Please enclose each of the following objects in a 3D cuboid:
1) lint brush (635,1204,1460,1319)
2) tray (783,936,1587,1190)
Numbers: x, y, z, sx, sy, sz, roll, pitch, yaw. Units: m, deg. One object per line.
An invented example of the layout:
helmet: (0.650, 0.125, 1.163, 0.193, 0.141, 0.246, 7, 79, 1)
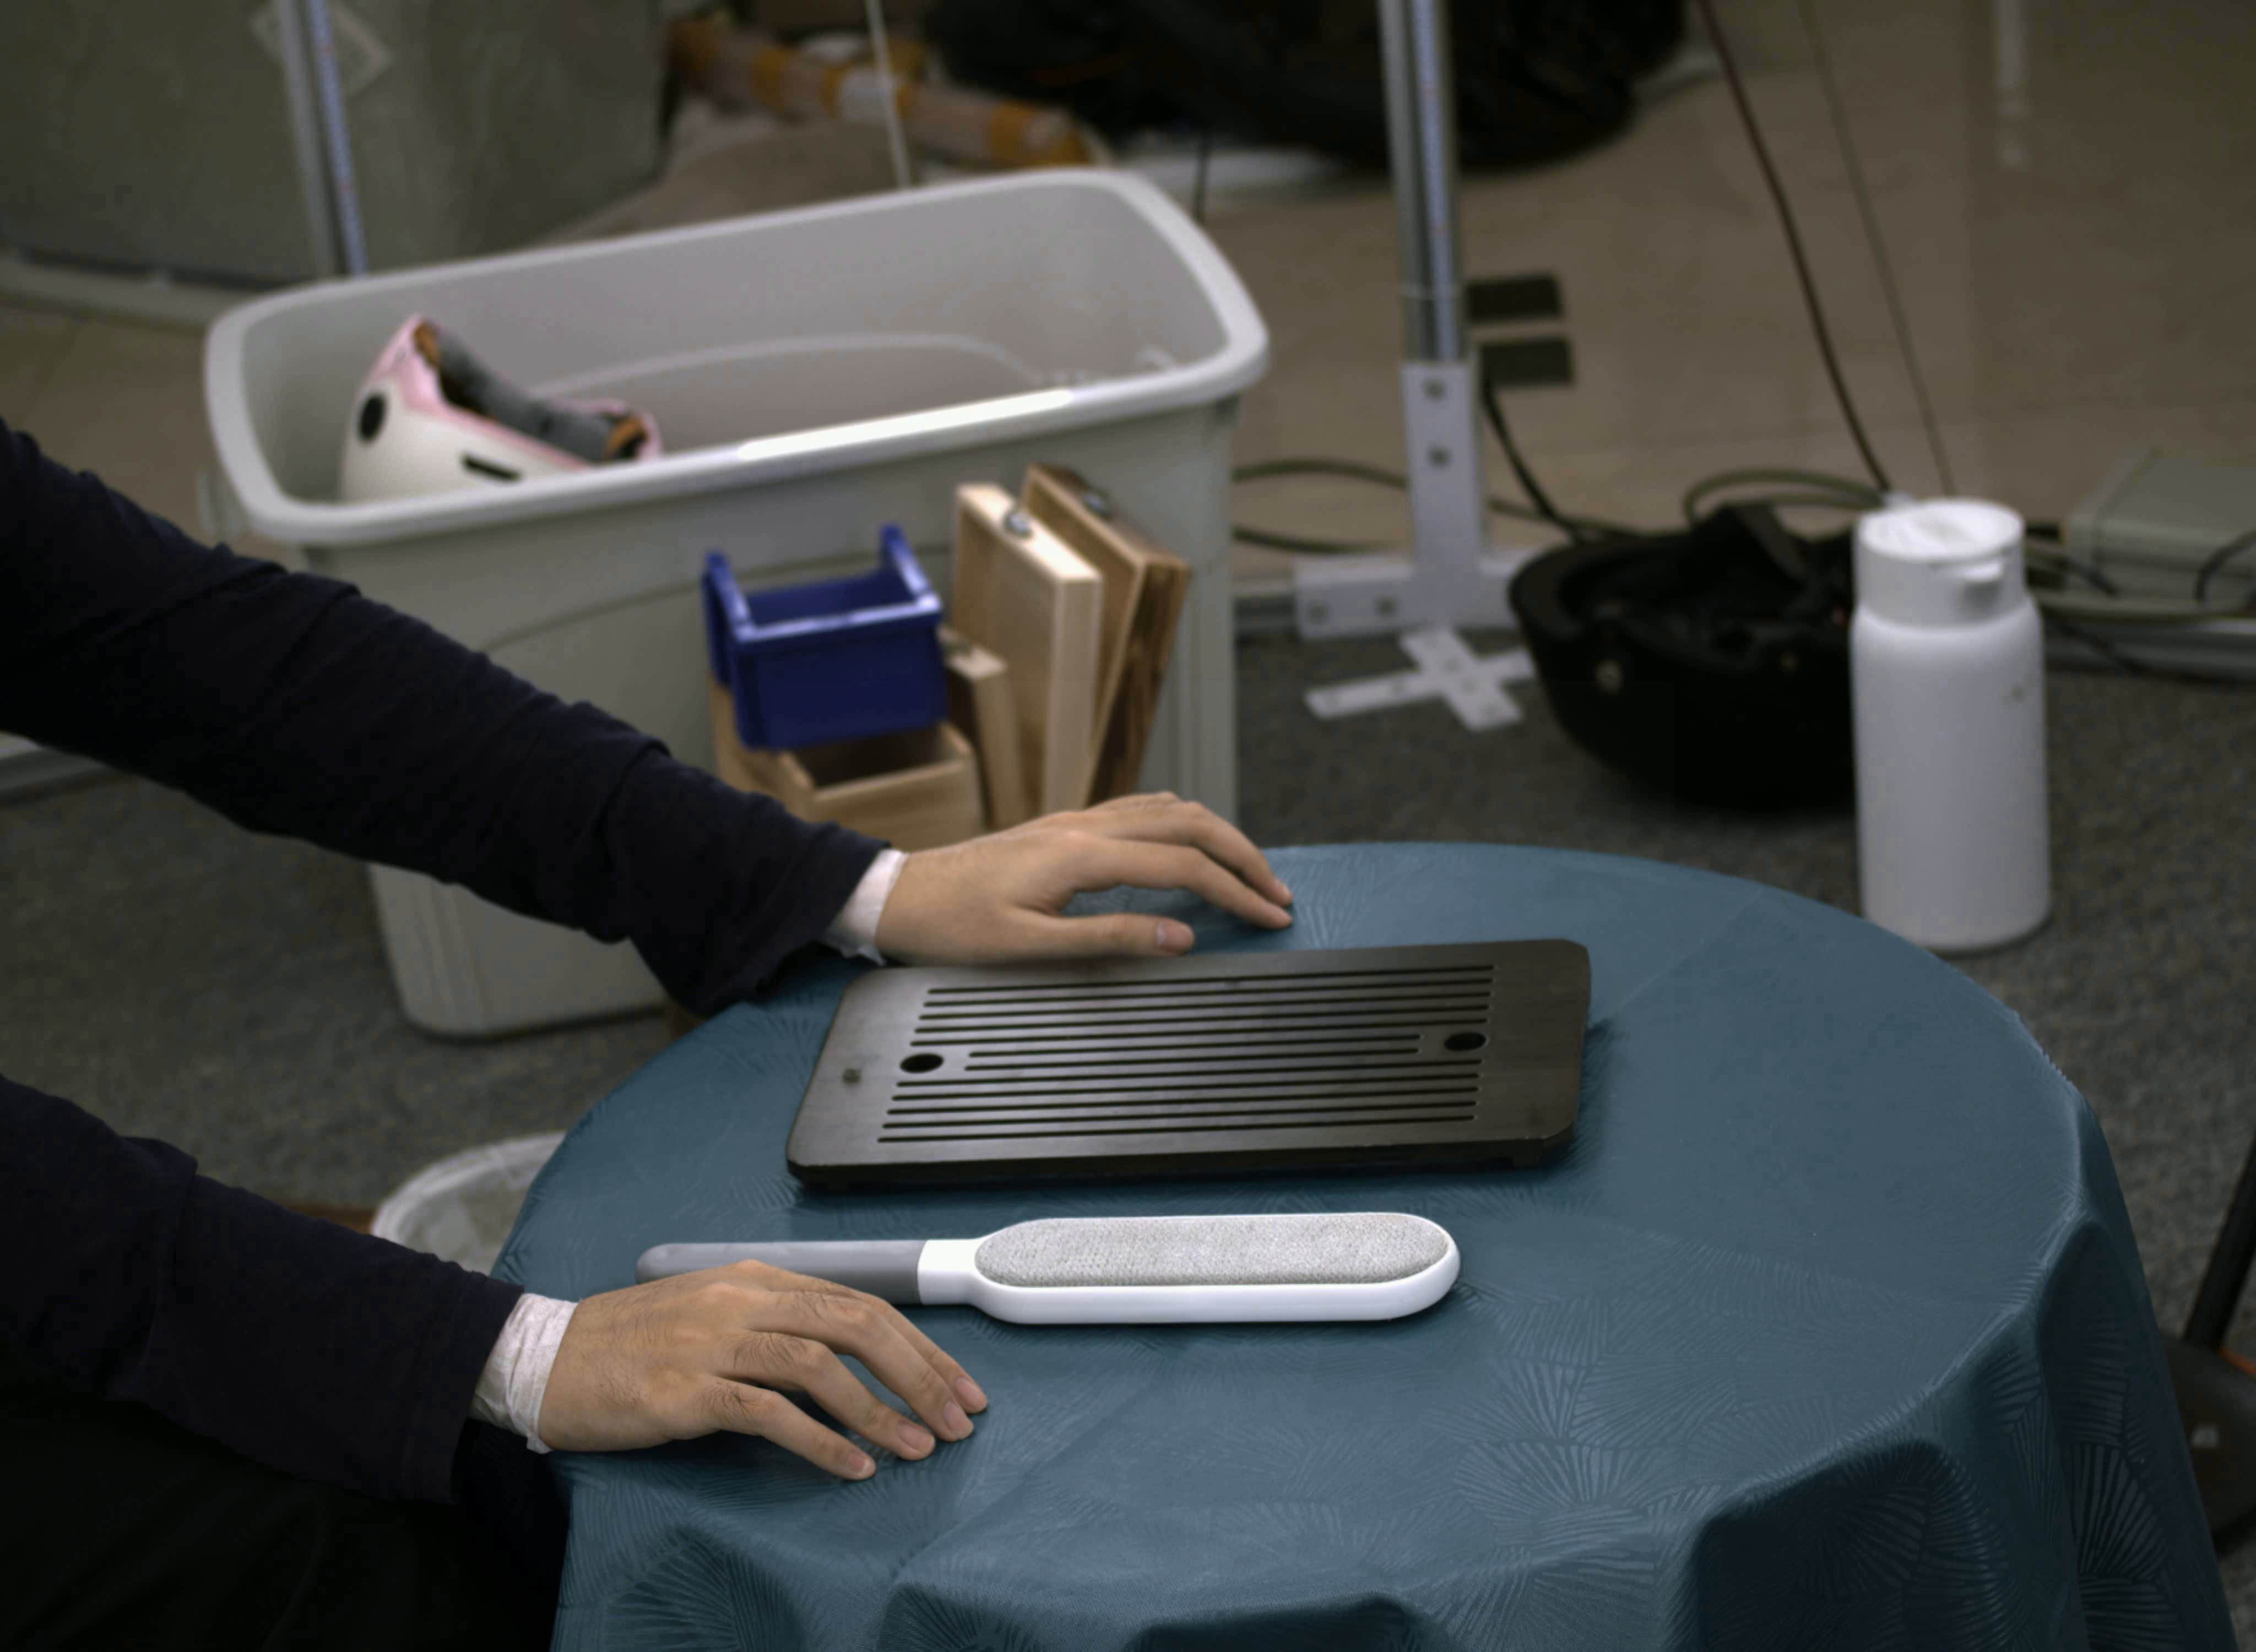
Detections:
lint brush: (-0.032, 0.160, 2.082, 0.308, 0.021, 0.059, -1, 31, 12)
tray: (0.025, 0.094, 2.223, 0.305, 0.019, 0.167, -3, 25, 8)
